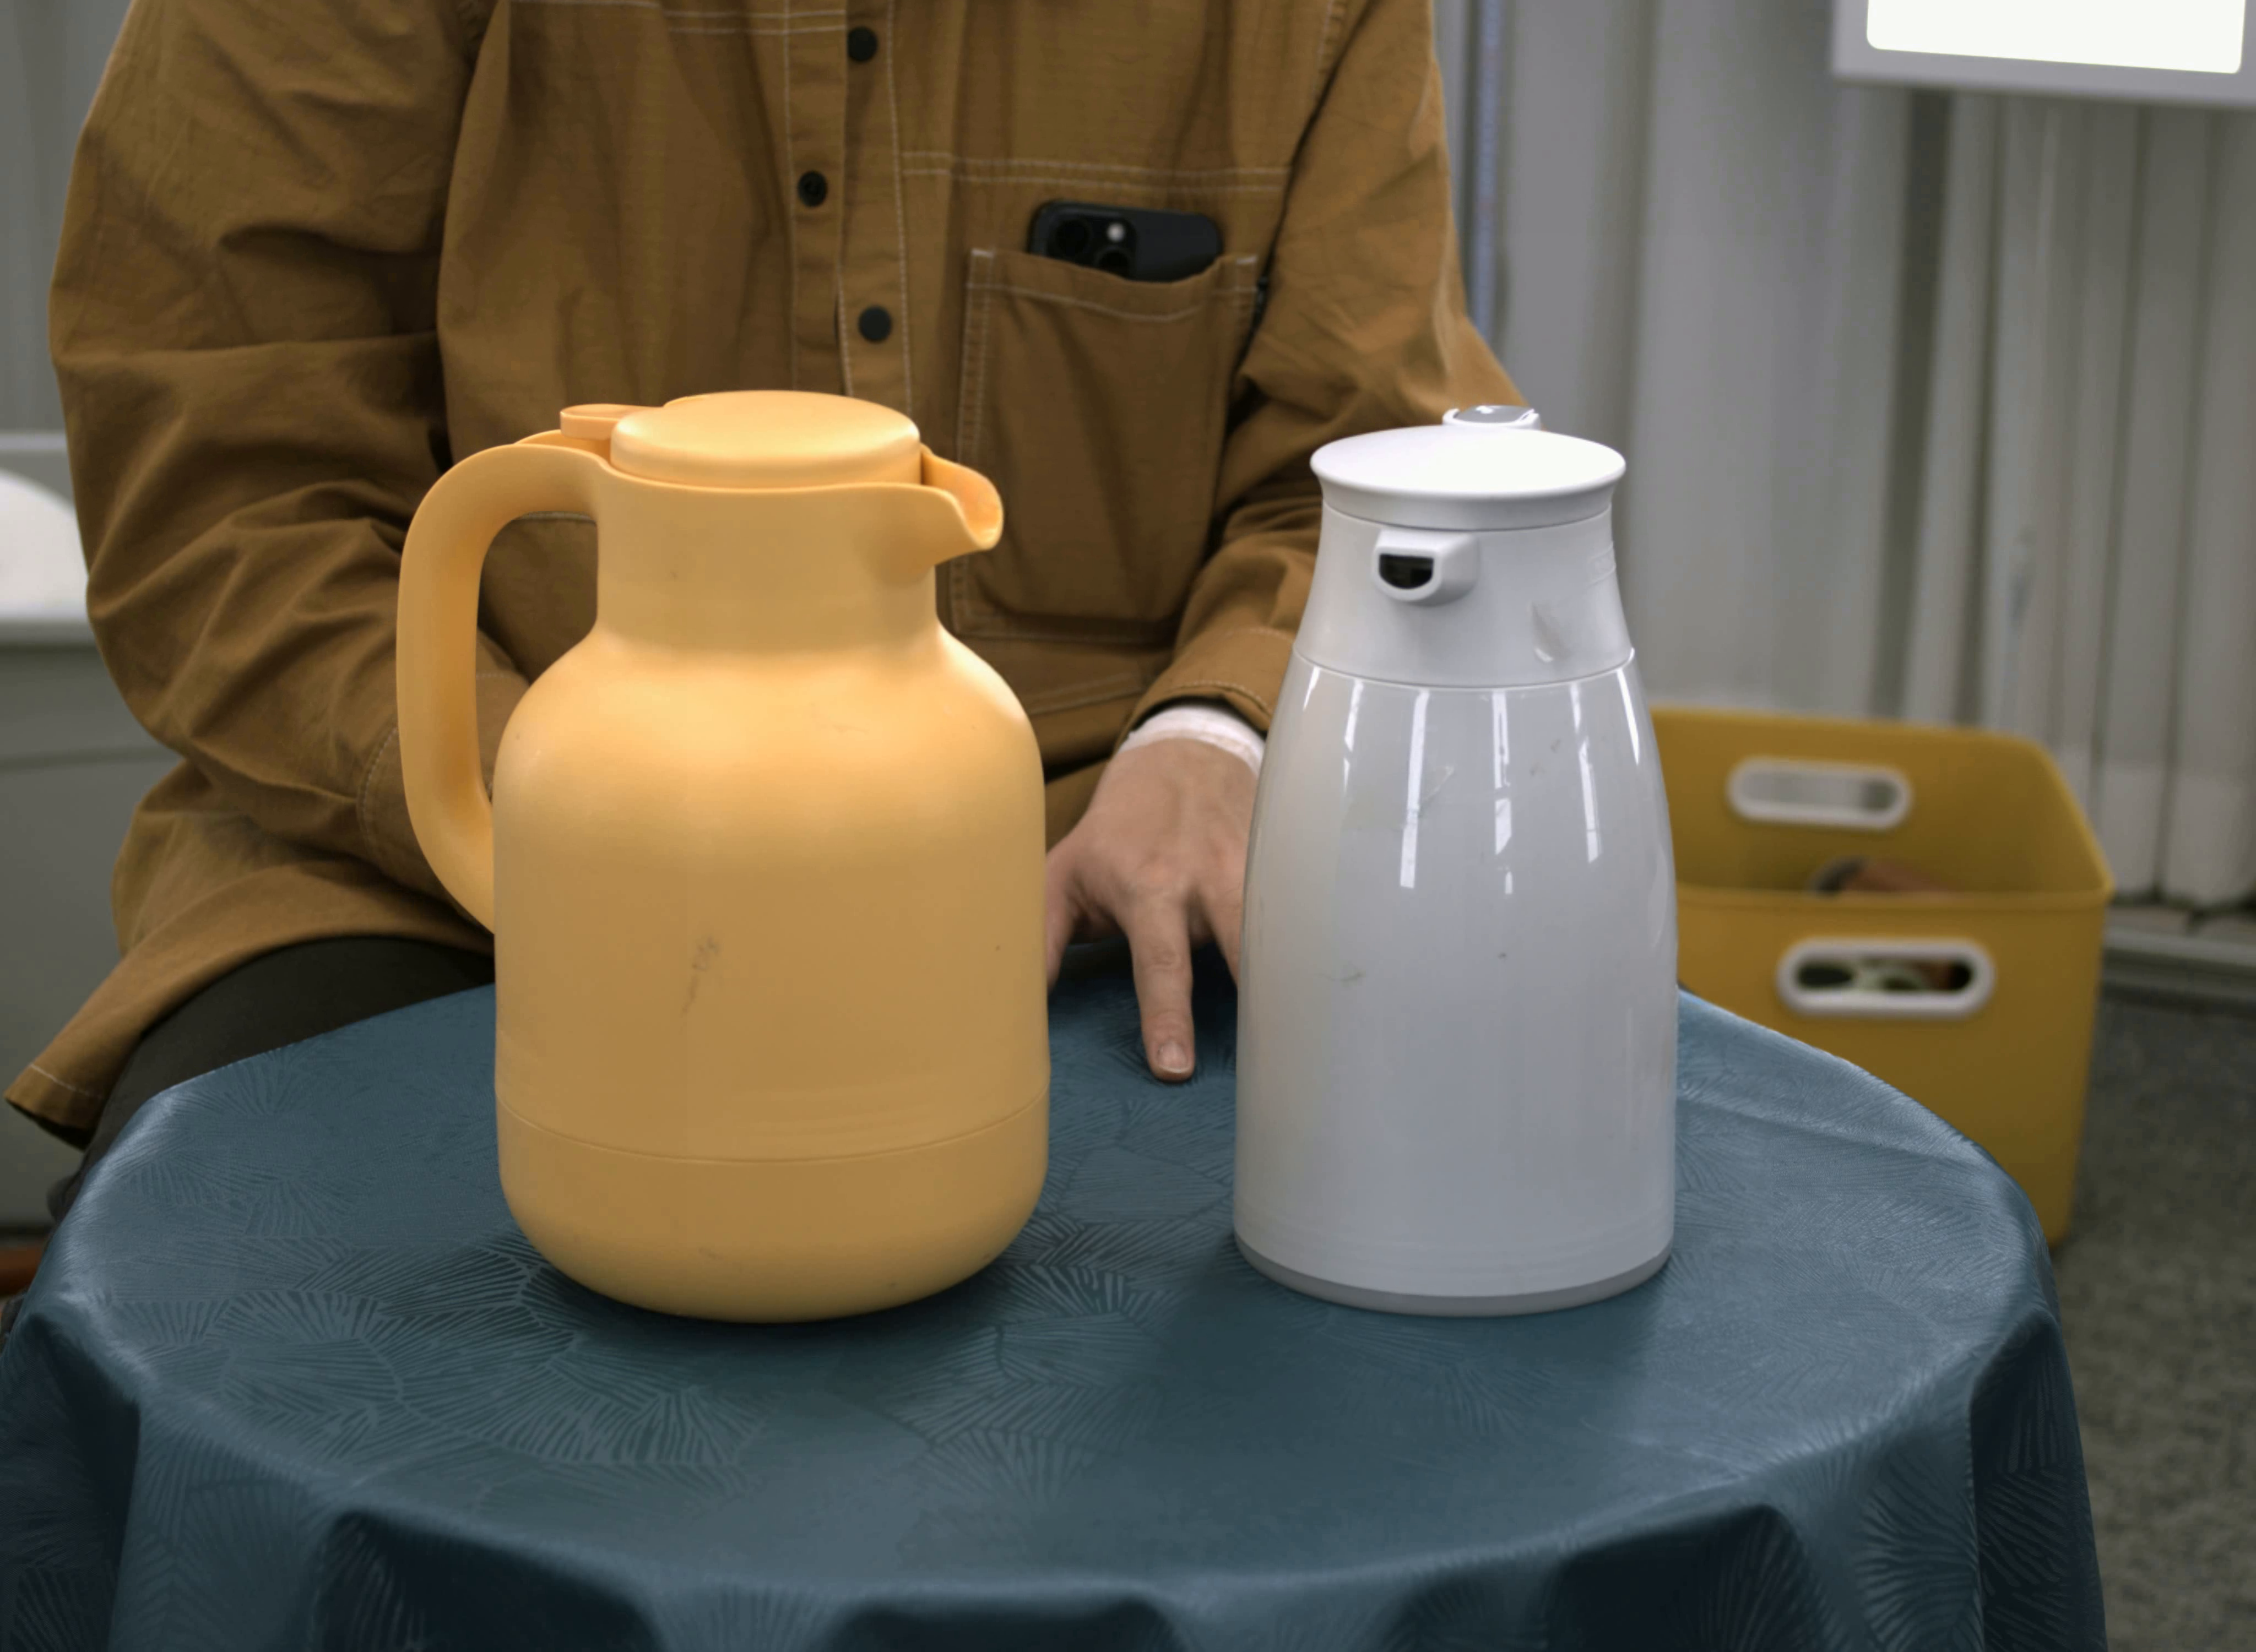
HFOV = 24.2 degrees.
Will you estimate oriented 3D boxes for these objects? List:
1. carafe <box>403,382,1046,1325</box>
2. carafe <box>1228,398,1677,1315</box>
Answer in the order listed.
[{"bbox_3d":[-0.120,0.001,1.534,0.200,0.262,0.164,10,17,27],"label":"carafe"},{"bbox_3d":[0.102,0.000,1.564,0.131,0.250,0.168,5,16,17],"label":"carafe"}]
